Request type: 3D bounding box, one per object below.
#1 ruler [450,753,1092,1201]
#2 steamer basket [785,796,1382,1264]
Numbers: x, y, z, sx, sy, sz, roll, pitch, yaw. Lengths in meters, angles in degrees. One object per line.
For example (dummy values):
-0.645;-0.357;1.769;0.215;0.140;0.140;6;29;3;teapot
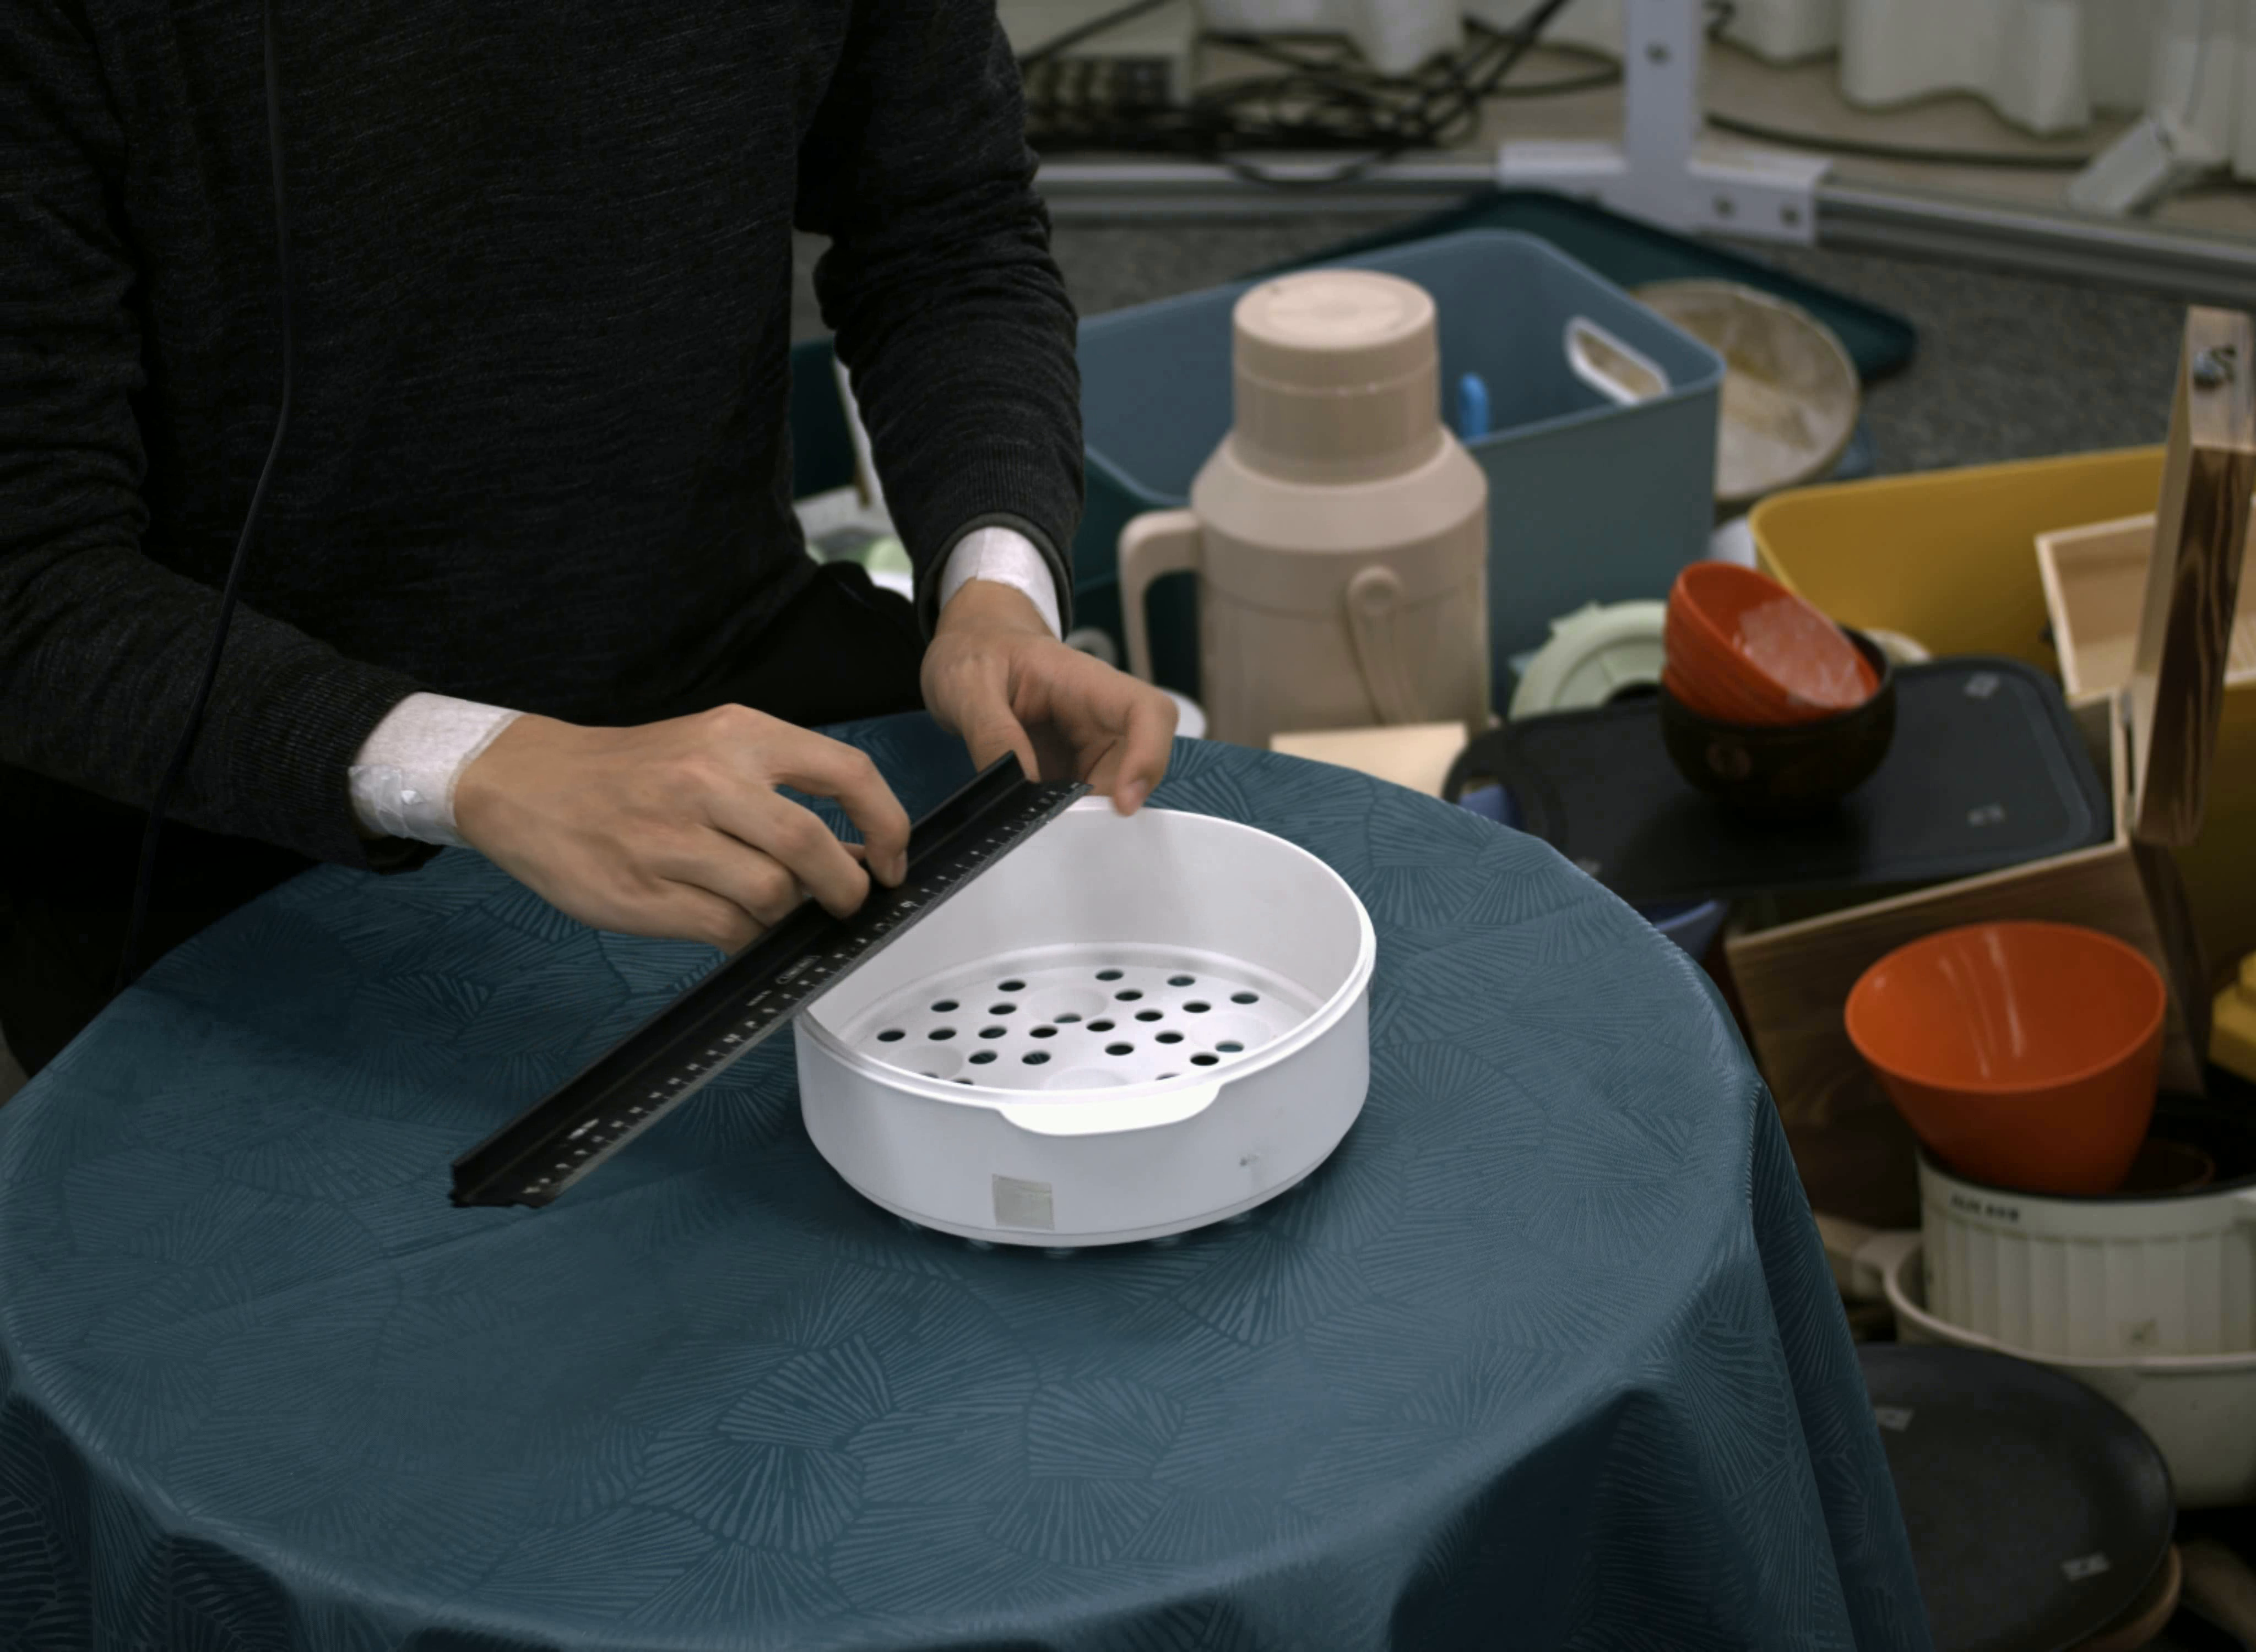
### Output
-0.110;0.044;1.813;0.039;0.017;0.317;1;24;35;ruler
-0.014;0.070;1.888;0.201;0.068;0.234;-6;29;-5;steamer basket
